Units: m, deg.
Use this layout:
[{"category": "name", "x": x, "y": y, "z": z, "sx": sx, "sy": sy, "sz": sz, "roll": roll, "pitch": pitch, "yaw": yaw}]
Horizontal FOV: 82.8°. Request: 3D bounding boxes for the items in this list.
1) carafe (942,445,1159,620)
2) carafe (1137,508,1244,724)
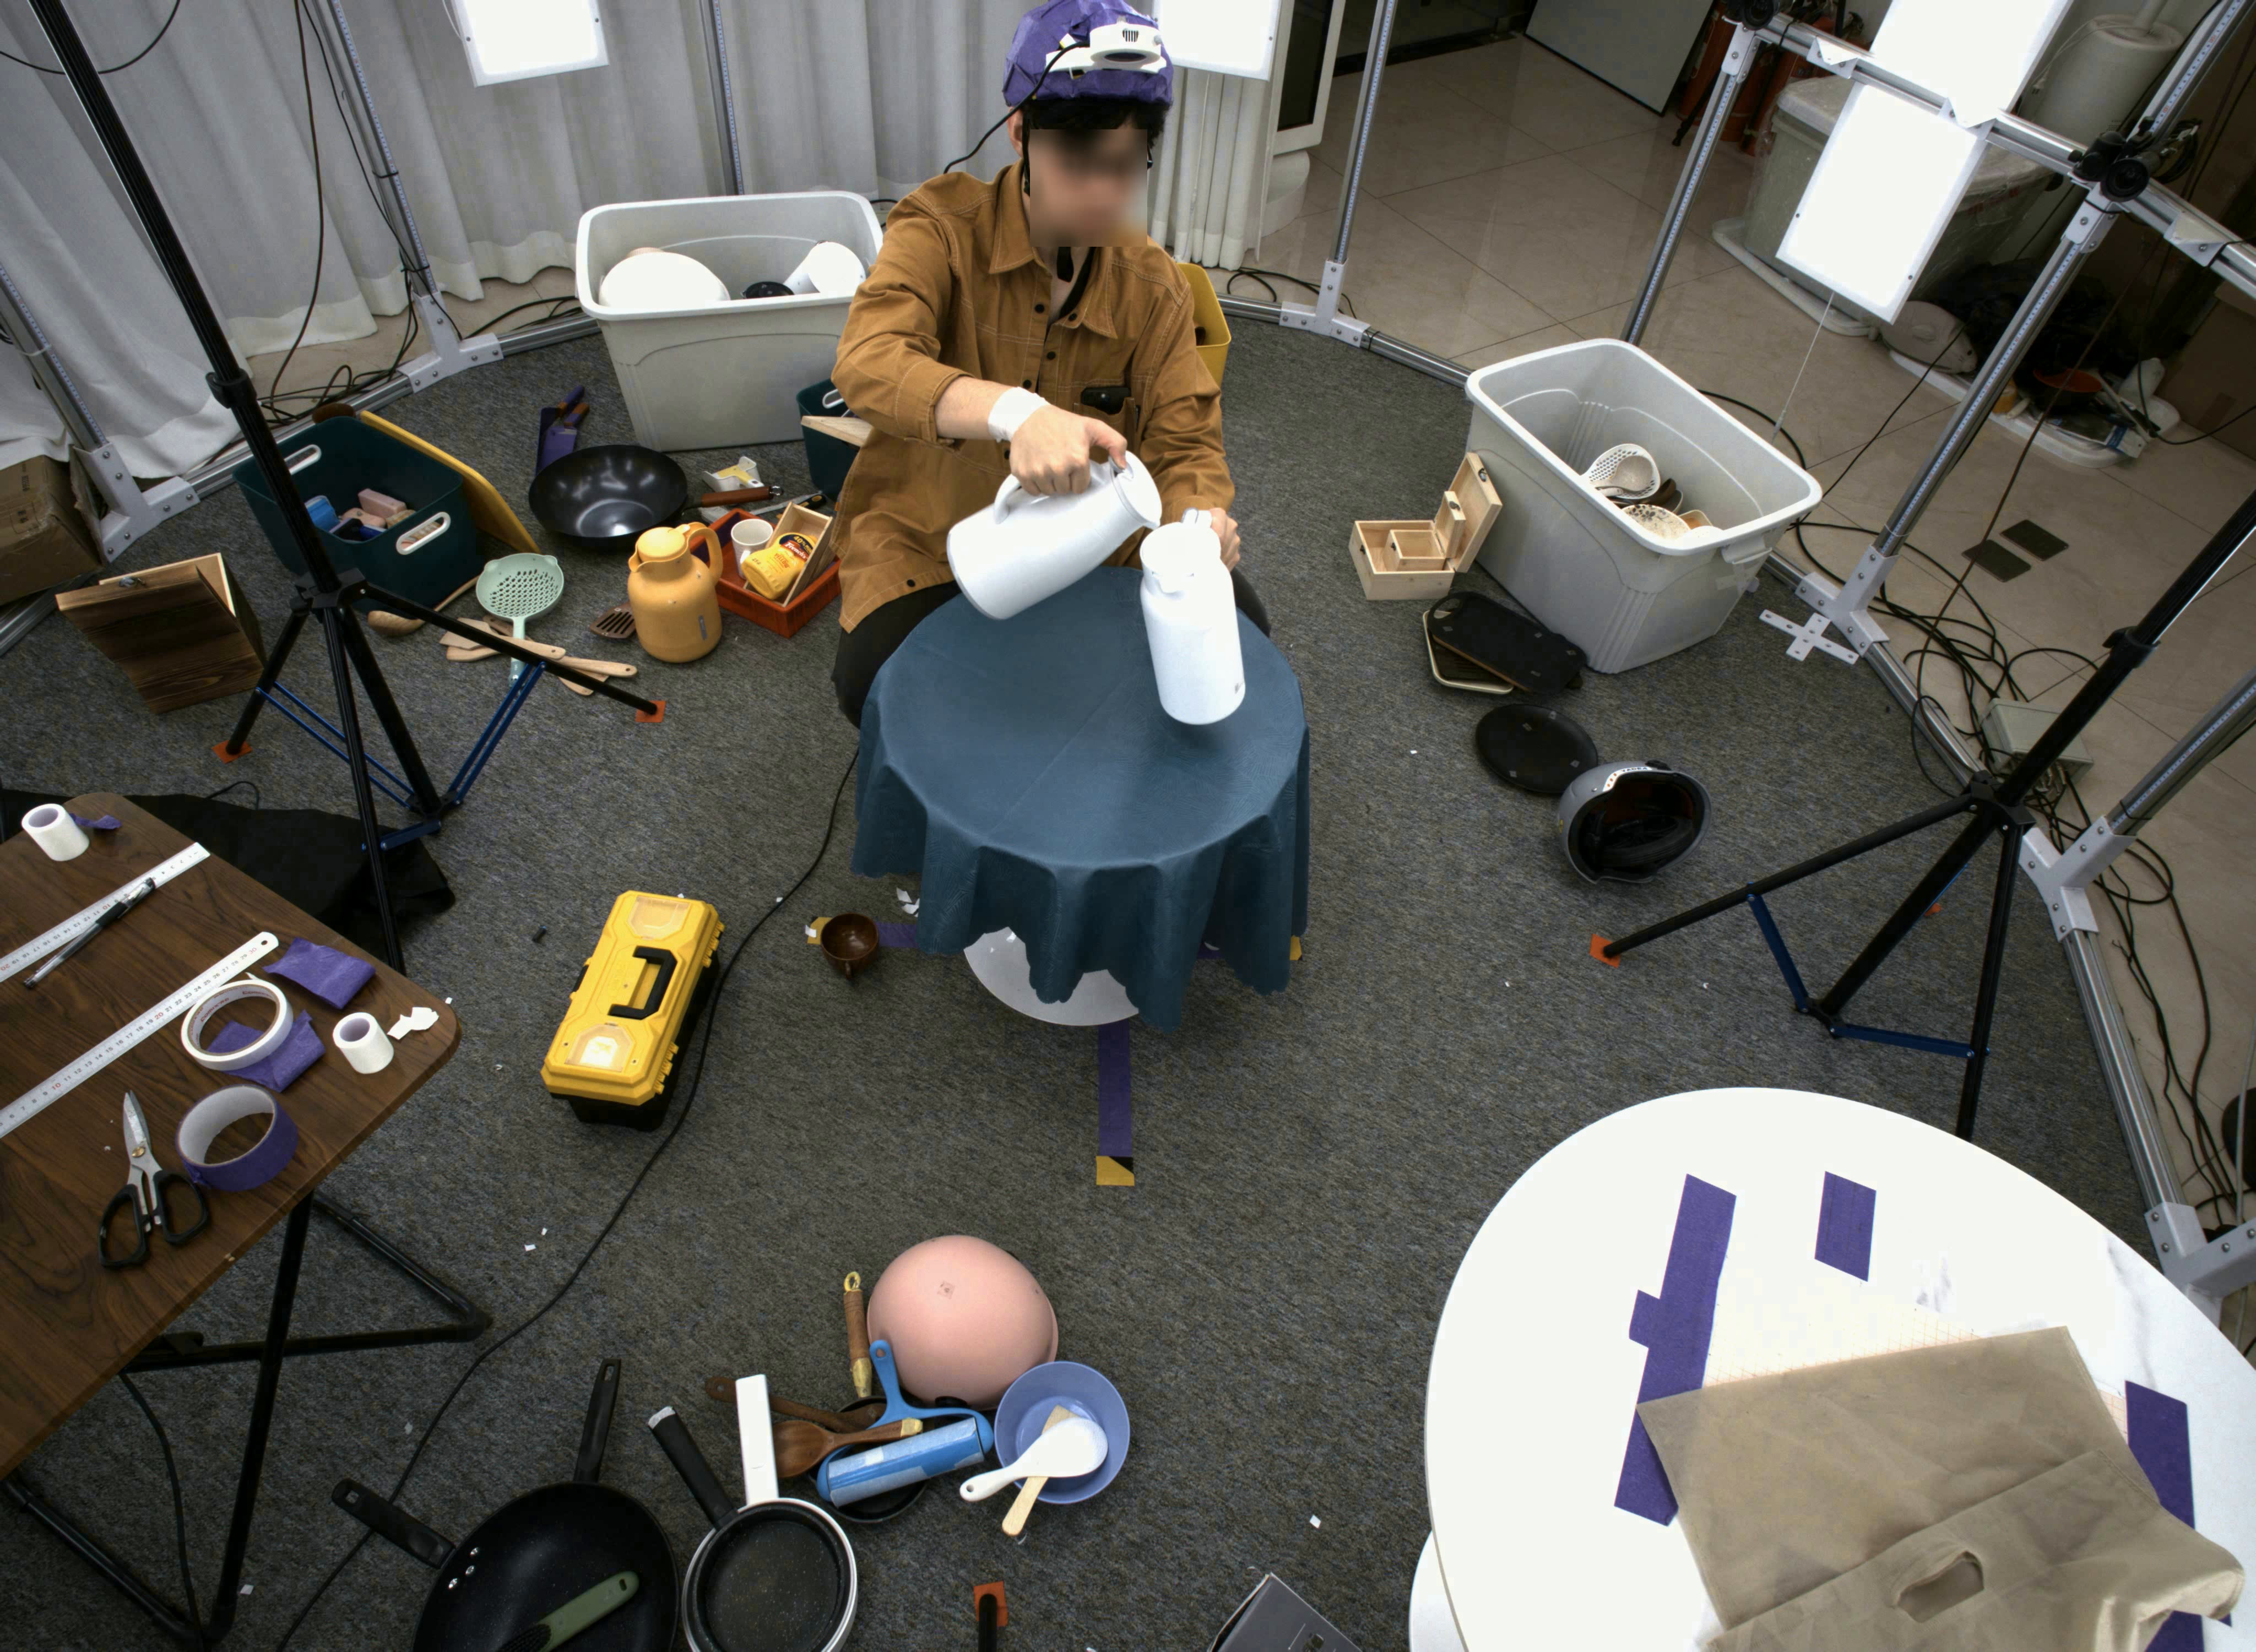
[{"category": "carafe", "x": -0.096, "y": -0.361, "z": 1.517, "sx": 0.247, "sy": 0.165, "sz": 0.135, "roll": -23, "pitch": 55, "yaw": 29}, {"category": "carafe", "x": 0.083, "y": -0.272, "z": 1.658, "sx": 0.124, "sy": 0.262, "sz": 0.176, "roll": 4, "pitch": 52, "yaw": 17}]
